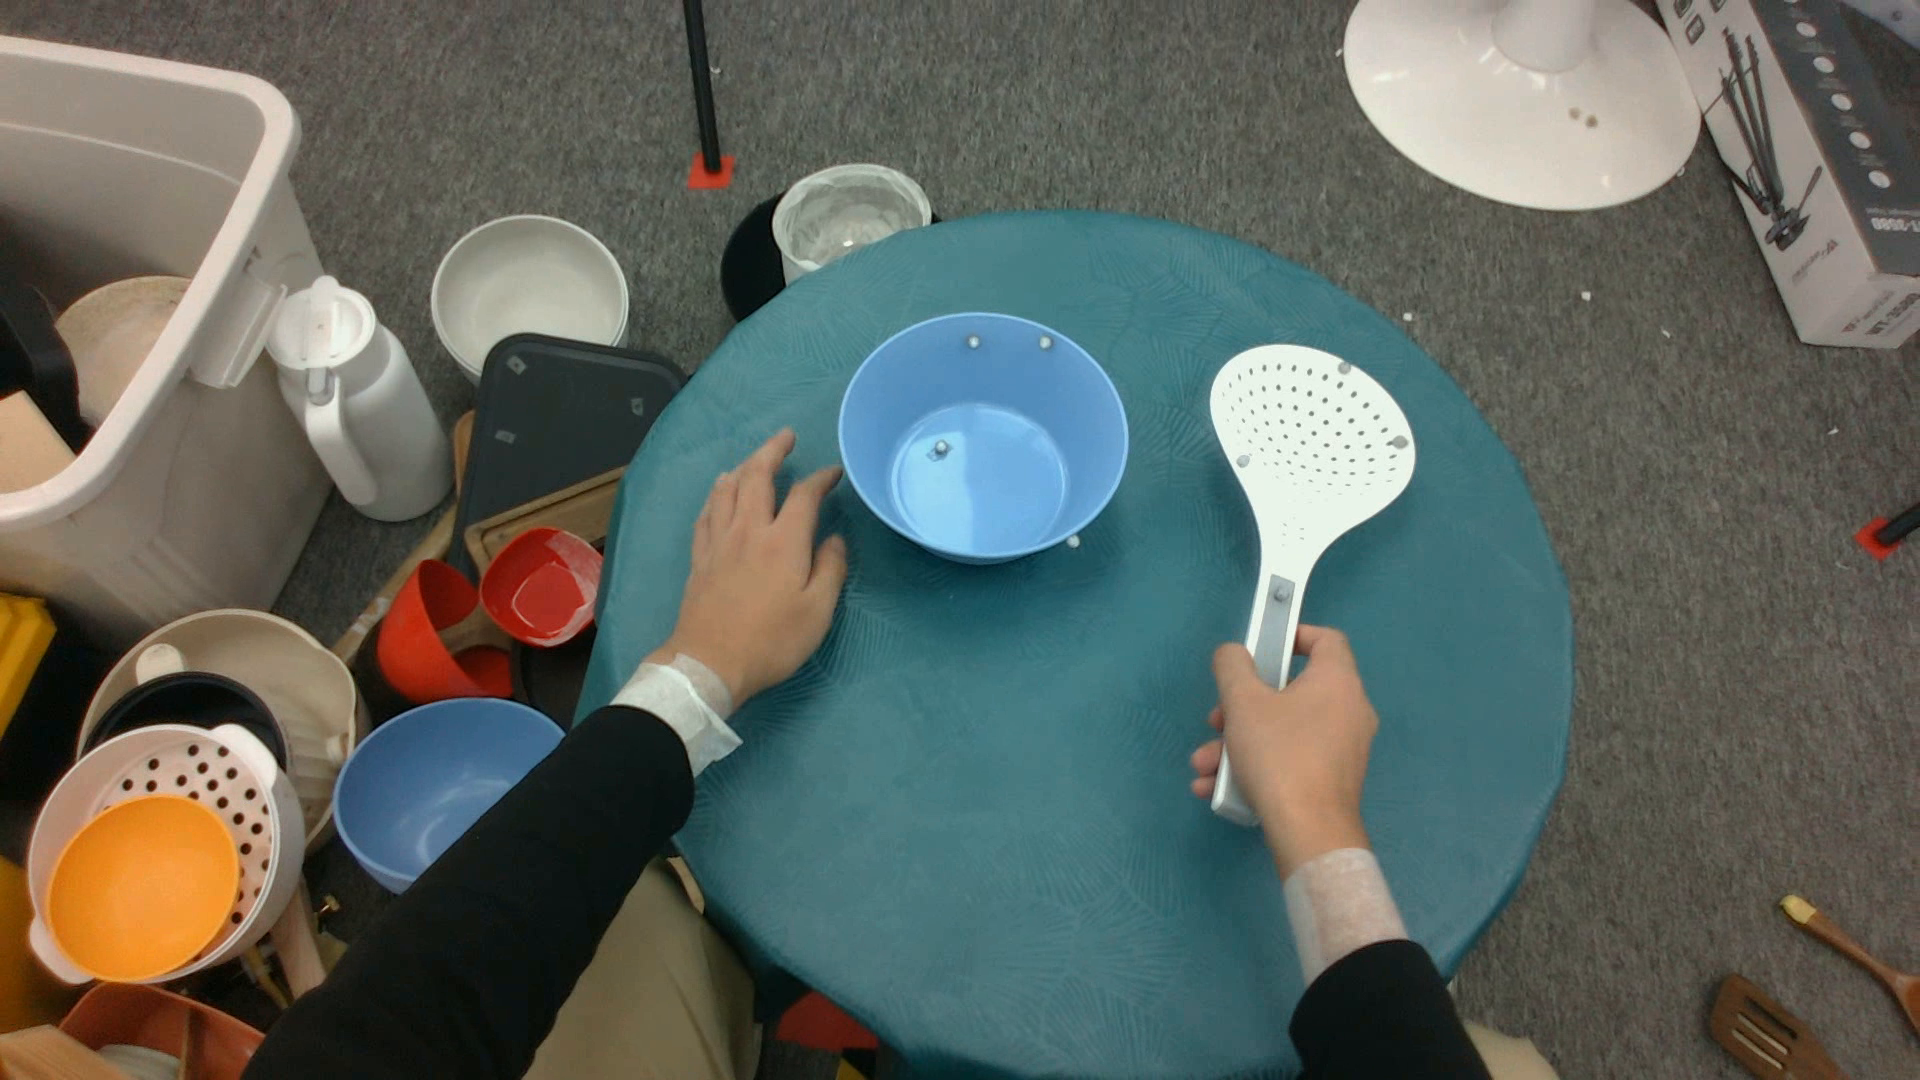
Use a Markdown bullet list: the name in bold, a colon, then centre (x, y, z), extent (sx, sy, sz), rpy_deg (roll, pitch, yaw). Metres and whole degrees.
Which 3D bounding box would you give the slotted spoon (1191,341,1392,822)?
- **slotted spoon**: centre (0.183, 0.011, 0.822), extent (0.136, 0.045, 0.351), rpy_deg (22, 49, -3)

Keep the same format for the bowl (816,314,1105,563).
- **bowl**: centre (-0.001, -0.052, 0.857), extent (0.176, 0.070, 0.177), rpy_deg (2, 61, -3)
